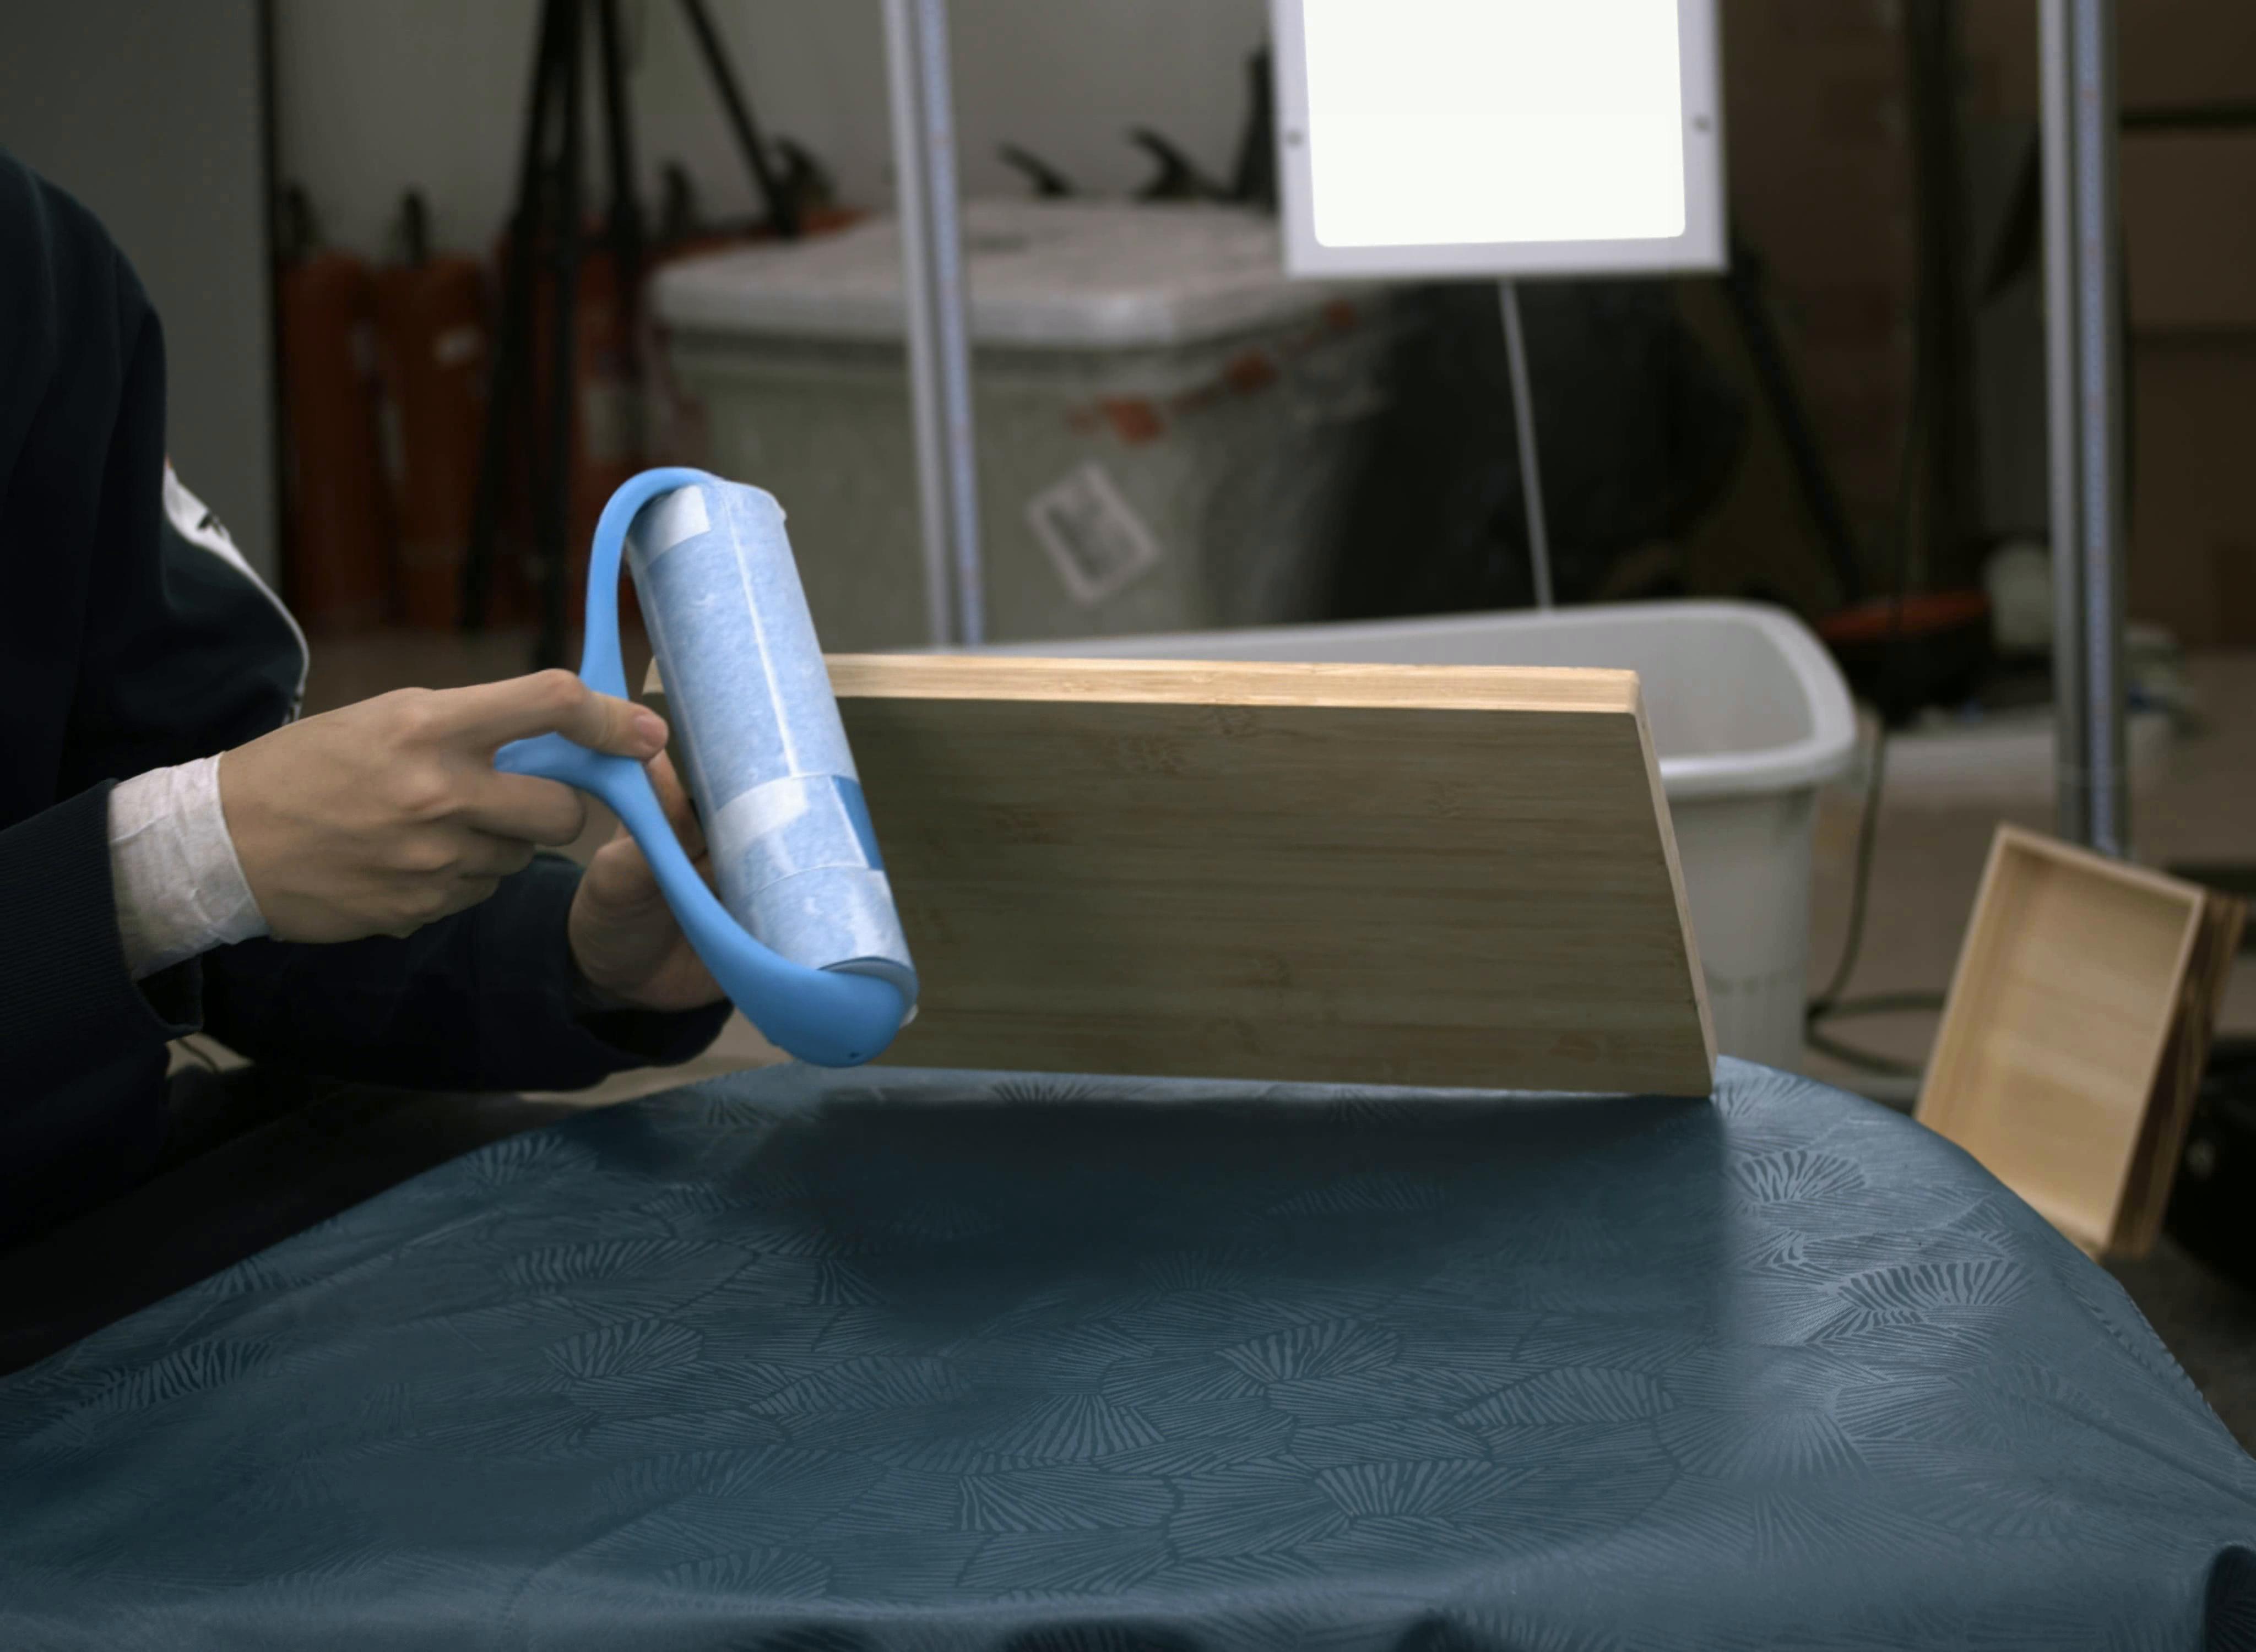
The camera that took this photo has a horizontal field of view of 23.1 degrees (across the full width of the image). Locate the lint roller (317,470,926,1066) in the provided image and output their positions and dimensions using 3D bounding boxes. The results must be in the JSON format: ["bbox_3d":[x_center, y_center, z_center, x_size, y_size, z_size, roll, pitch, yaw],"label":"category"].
[{"bbox_3d":[-0.172,-0.009,1.774,0.178,0.068,0.230,-13,59,-12],"label":"lint roller"}]

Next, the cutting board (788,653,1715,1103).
[{"bbox_3d":[0.019,0.019,1.905,0.352,0.250,0.023,2,56,16],"label":"cutting board"}]
